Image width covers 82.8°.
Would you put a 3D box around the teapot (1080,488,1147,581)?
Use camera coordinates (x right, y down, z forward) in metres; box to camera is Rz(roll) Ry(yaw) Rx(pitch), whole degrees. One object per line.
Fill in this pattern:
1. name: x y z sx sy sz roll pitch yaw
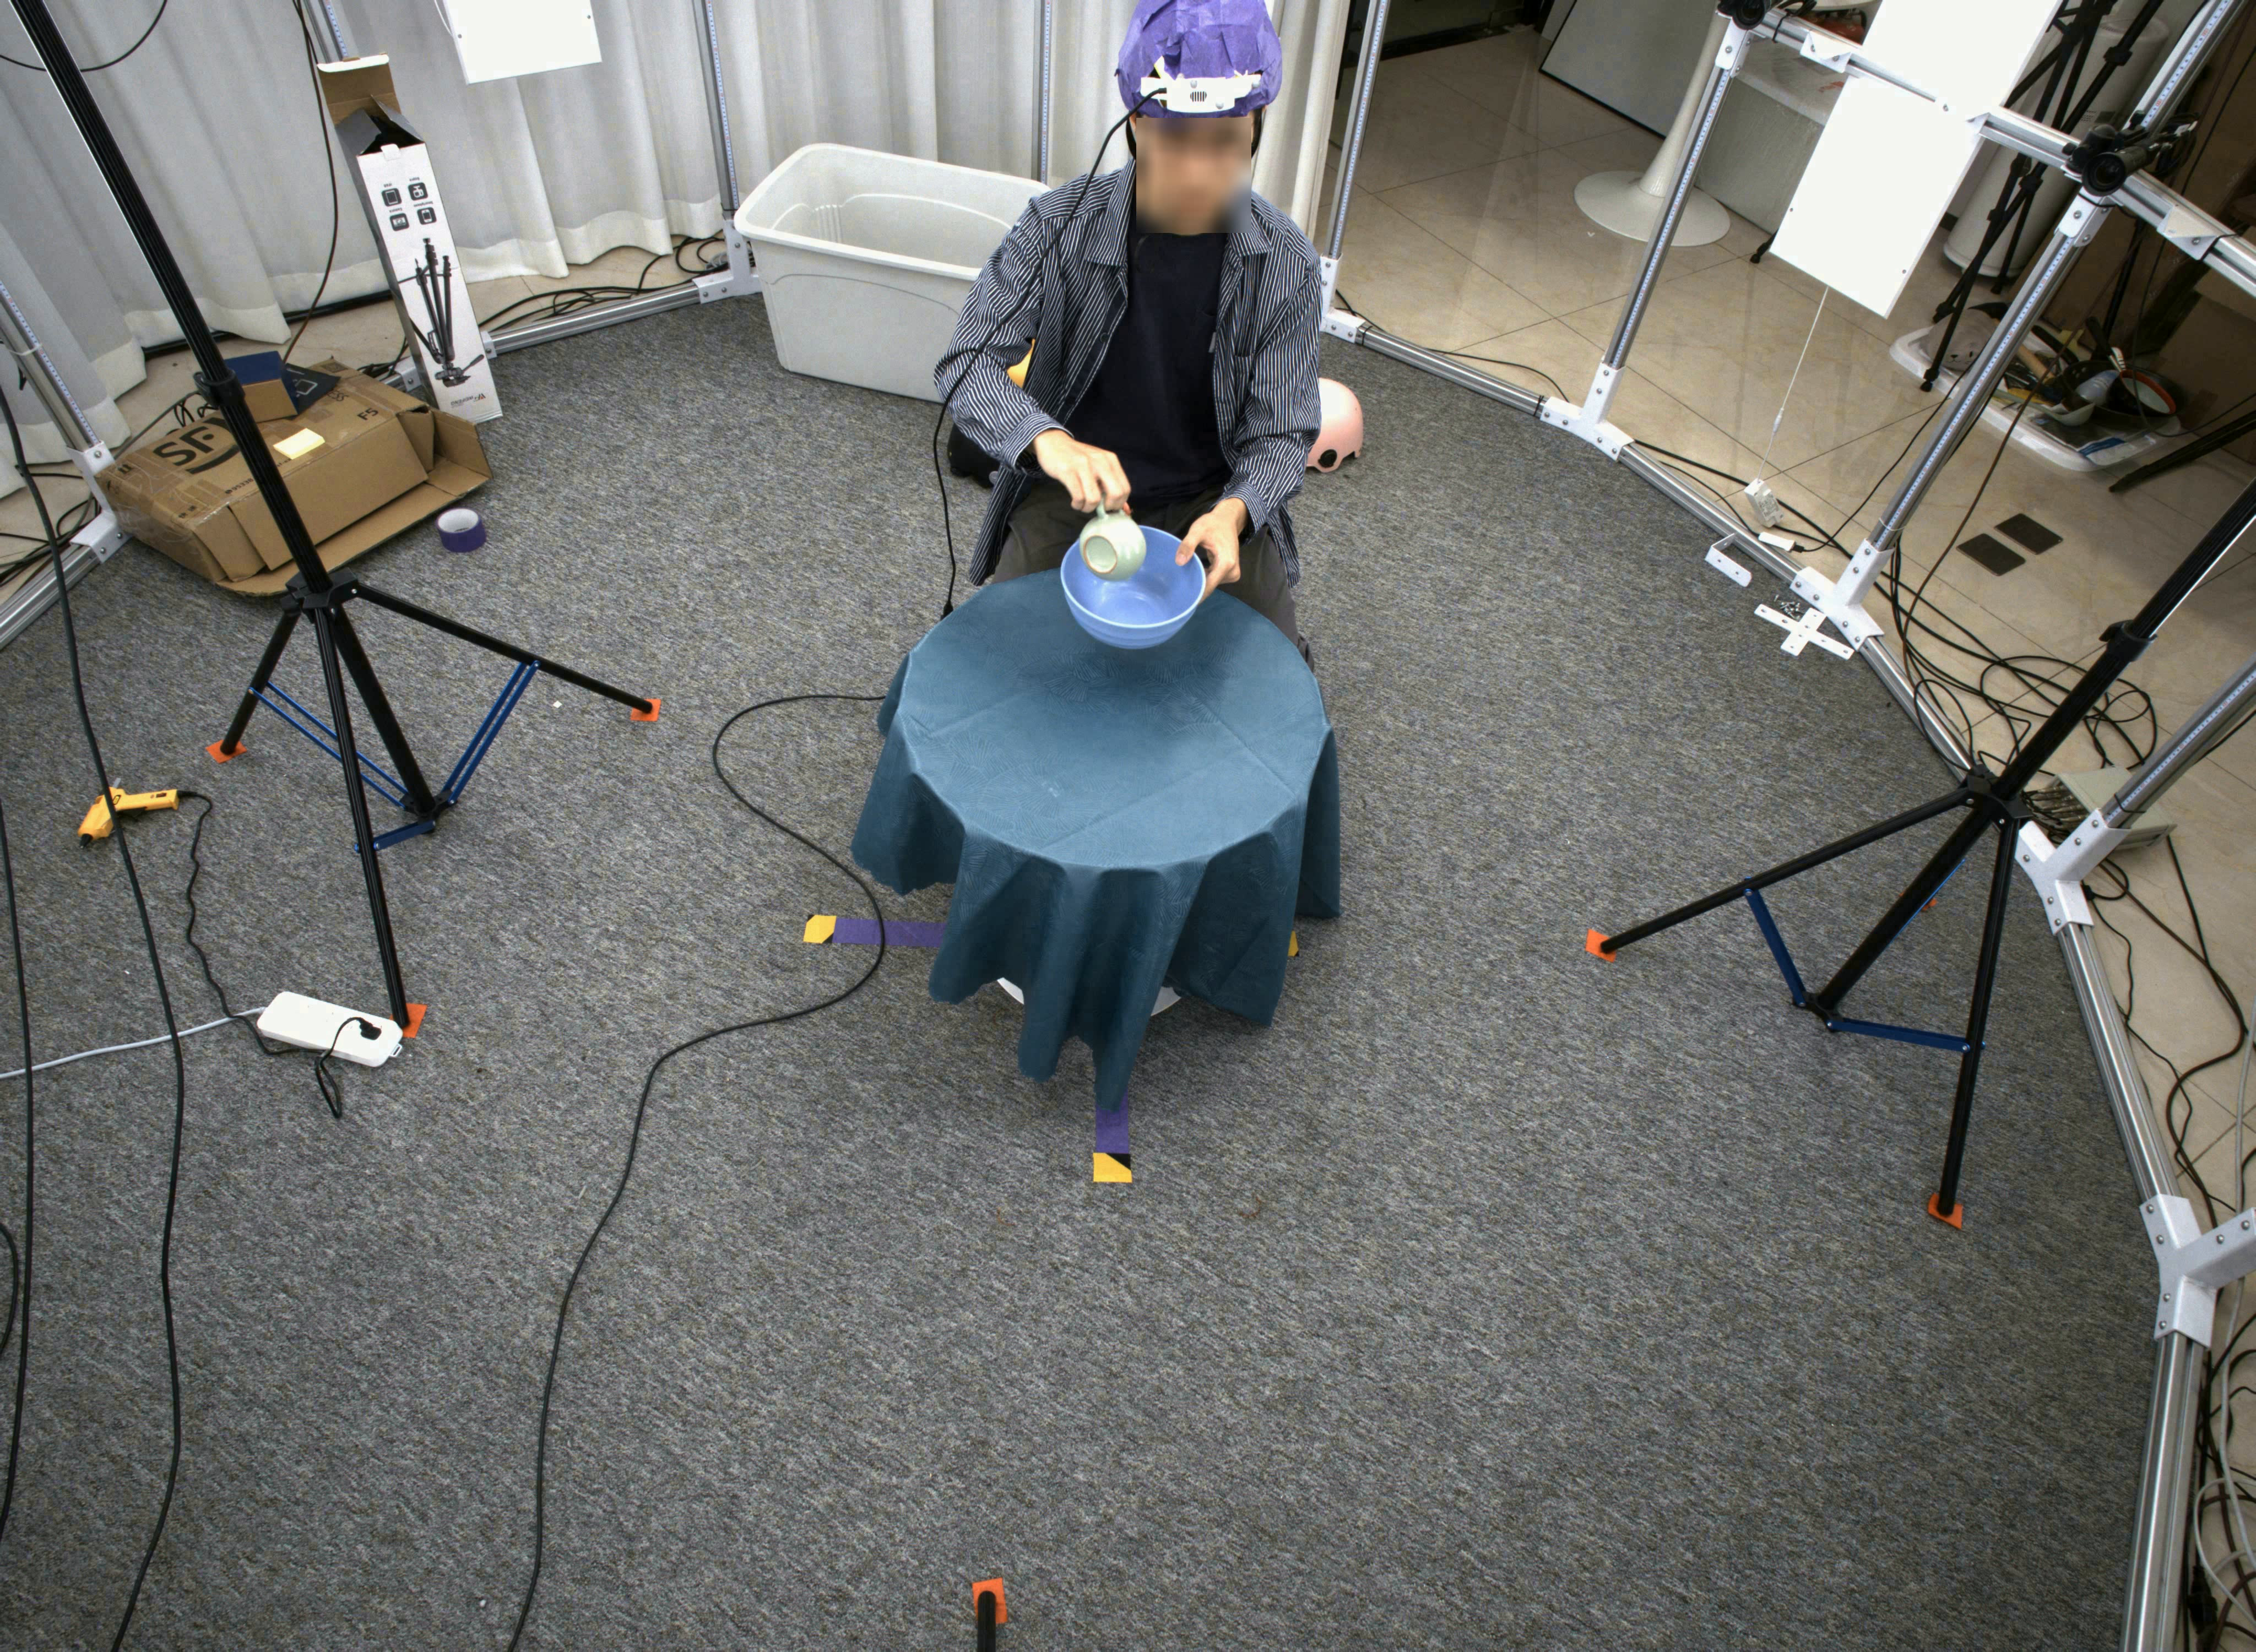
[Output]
1. teapot: -0.021 -0.376 1.680 0.092 0.126 0.061 7 29 35

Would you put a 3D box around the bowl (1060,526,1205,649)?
1. bowl: 0.003 -0.314 1.772 0.196 0.093 0.201 3 53 -4
